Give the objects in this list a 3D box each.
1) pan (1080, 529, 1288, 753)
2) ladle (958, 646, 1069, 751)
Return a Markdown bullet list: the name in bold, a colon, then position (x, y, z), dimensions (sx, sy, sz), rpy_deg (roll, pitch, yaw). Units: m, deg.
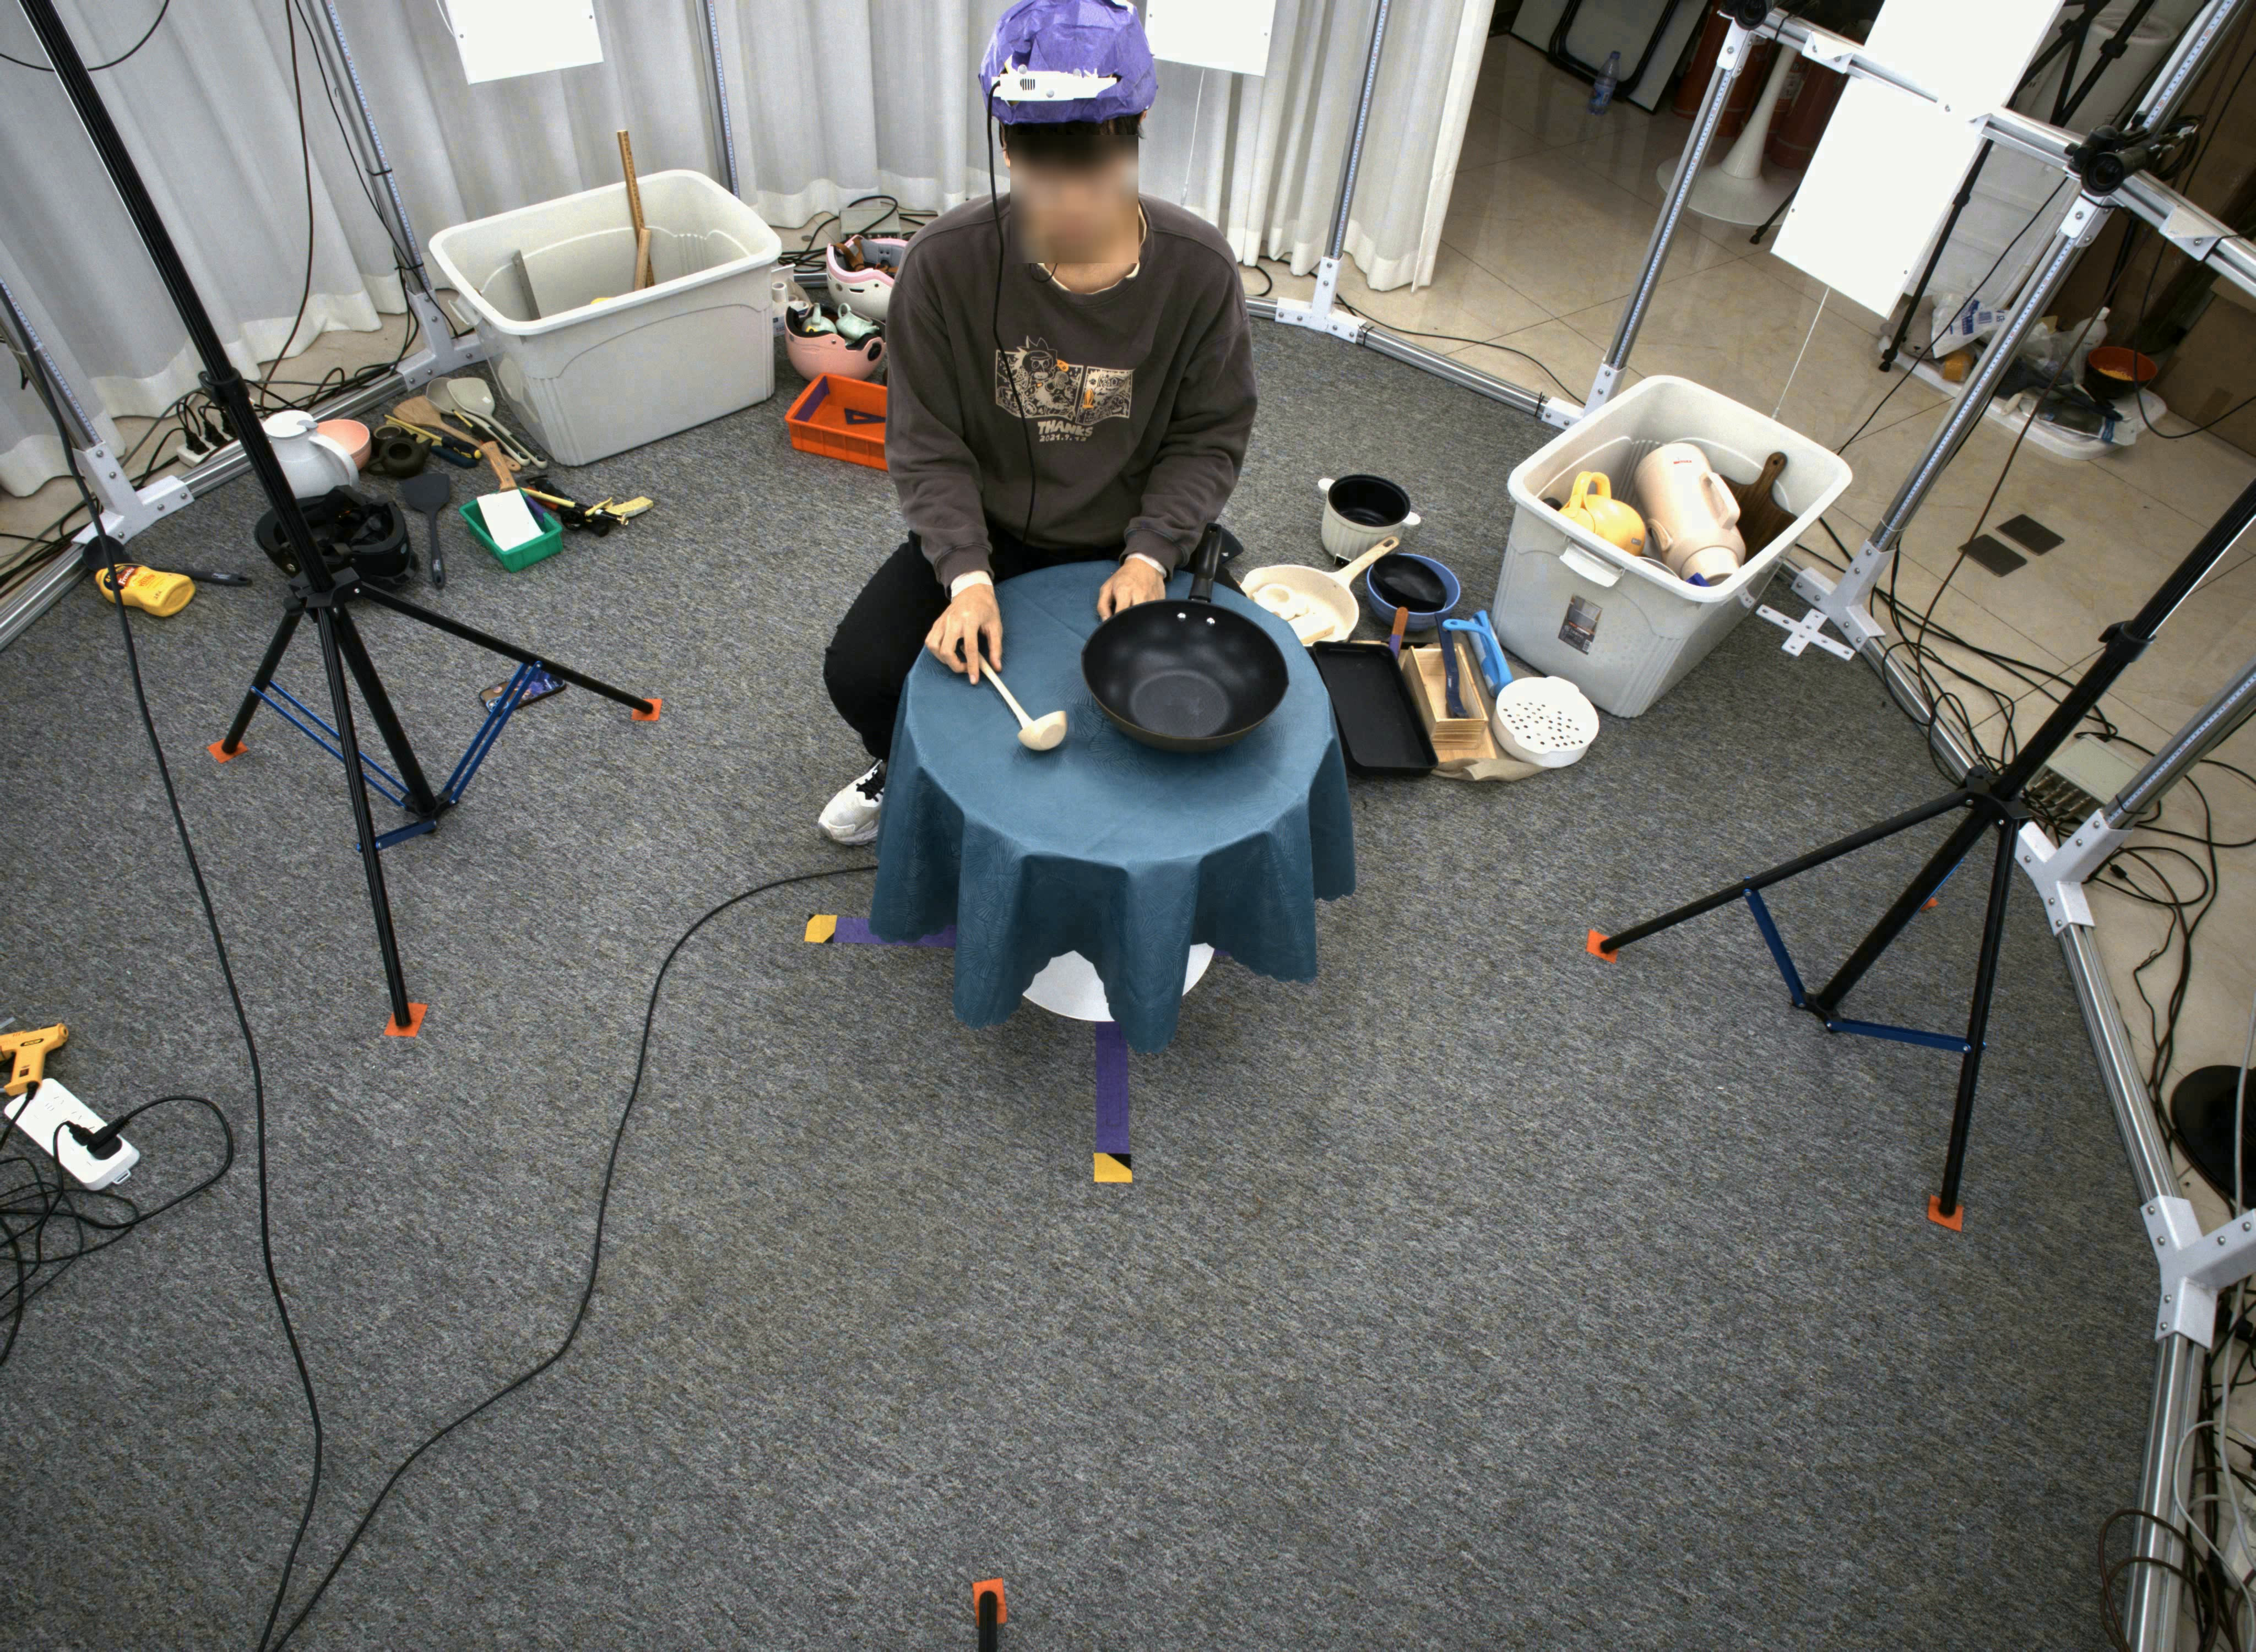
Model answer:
- **pan**: position (0.091, -0.263, 1.847), dimensions (0.288, 0.085, 0.474), rpy_deg (9, 48, 5)
- **ladle**: position (-0.171, -0.200, 1.782), dimensions (0.072, 0.071, 0.259), rpy_deg (-28, 56, -20)
